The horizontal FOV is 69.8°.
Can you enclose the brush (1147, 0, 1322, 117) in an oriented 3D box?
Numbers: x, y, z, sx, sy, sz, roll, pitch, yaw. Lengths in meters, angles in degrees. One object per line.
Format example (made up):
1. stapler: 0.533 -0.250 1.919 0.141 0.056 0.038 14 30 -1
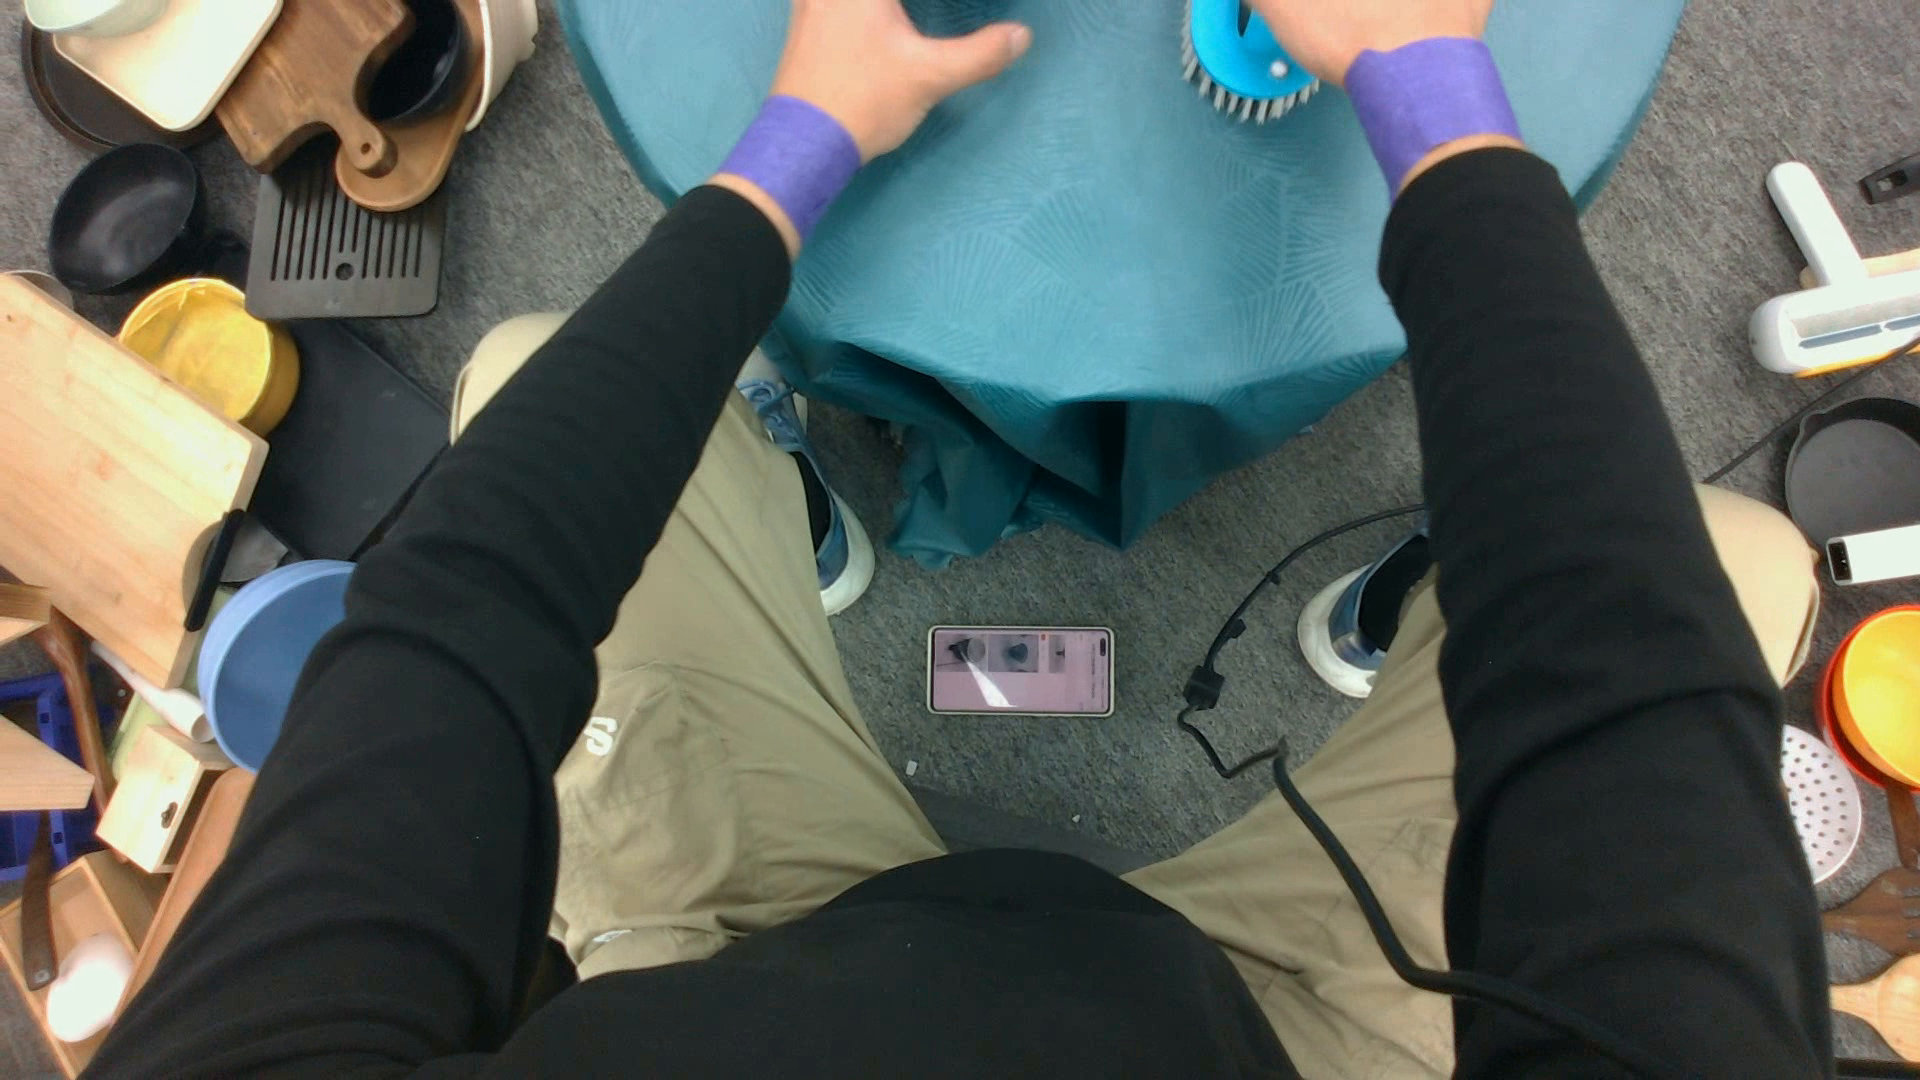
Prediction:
1. brush: 0.140 -0.286 0.674 0.084 0.064 0.142 6 86 -2
